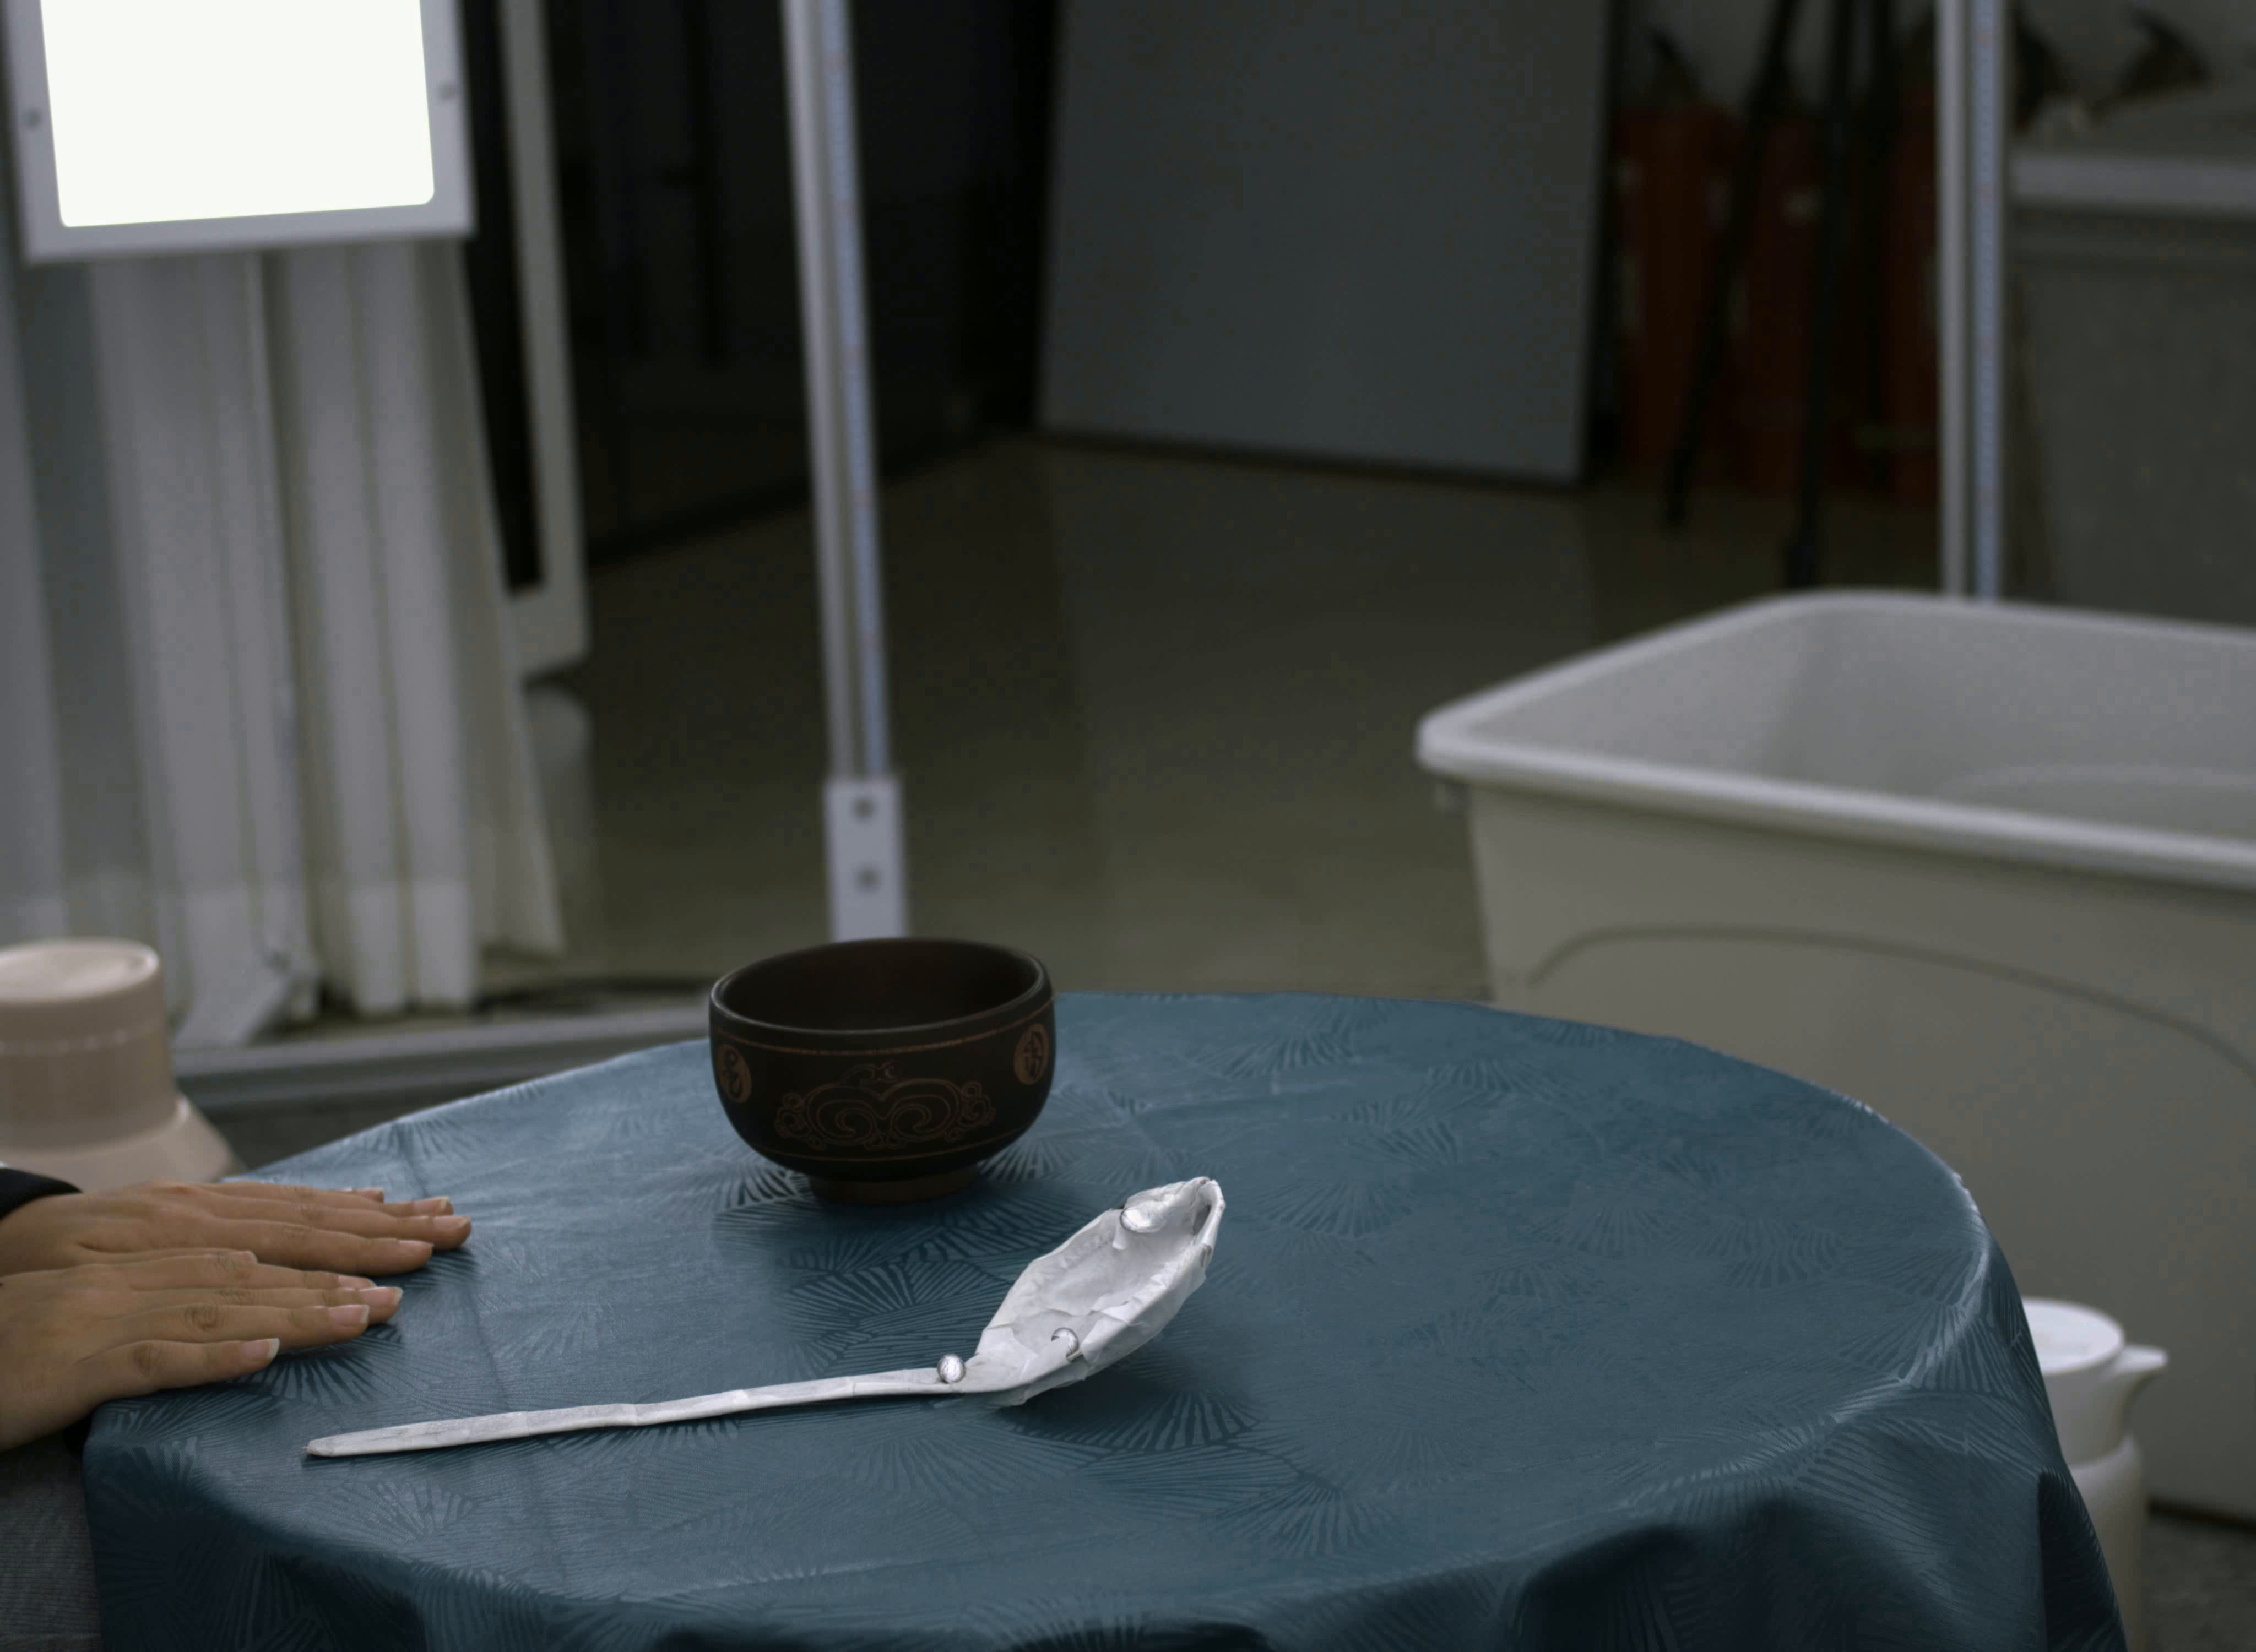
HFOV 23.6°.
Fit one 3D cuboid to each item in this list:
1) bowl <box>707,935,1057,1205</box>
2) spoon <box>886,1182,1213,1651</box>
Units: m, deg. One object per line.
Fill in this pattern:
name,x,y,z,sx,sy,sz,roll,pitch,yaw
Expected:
bowl,-0.080,0.084,1.791,0.116,0.070,0.118,-4,13,0
spoon,-0.037,0.229,1.578,0.058,0.280,0.101,20,-17,-20
